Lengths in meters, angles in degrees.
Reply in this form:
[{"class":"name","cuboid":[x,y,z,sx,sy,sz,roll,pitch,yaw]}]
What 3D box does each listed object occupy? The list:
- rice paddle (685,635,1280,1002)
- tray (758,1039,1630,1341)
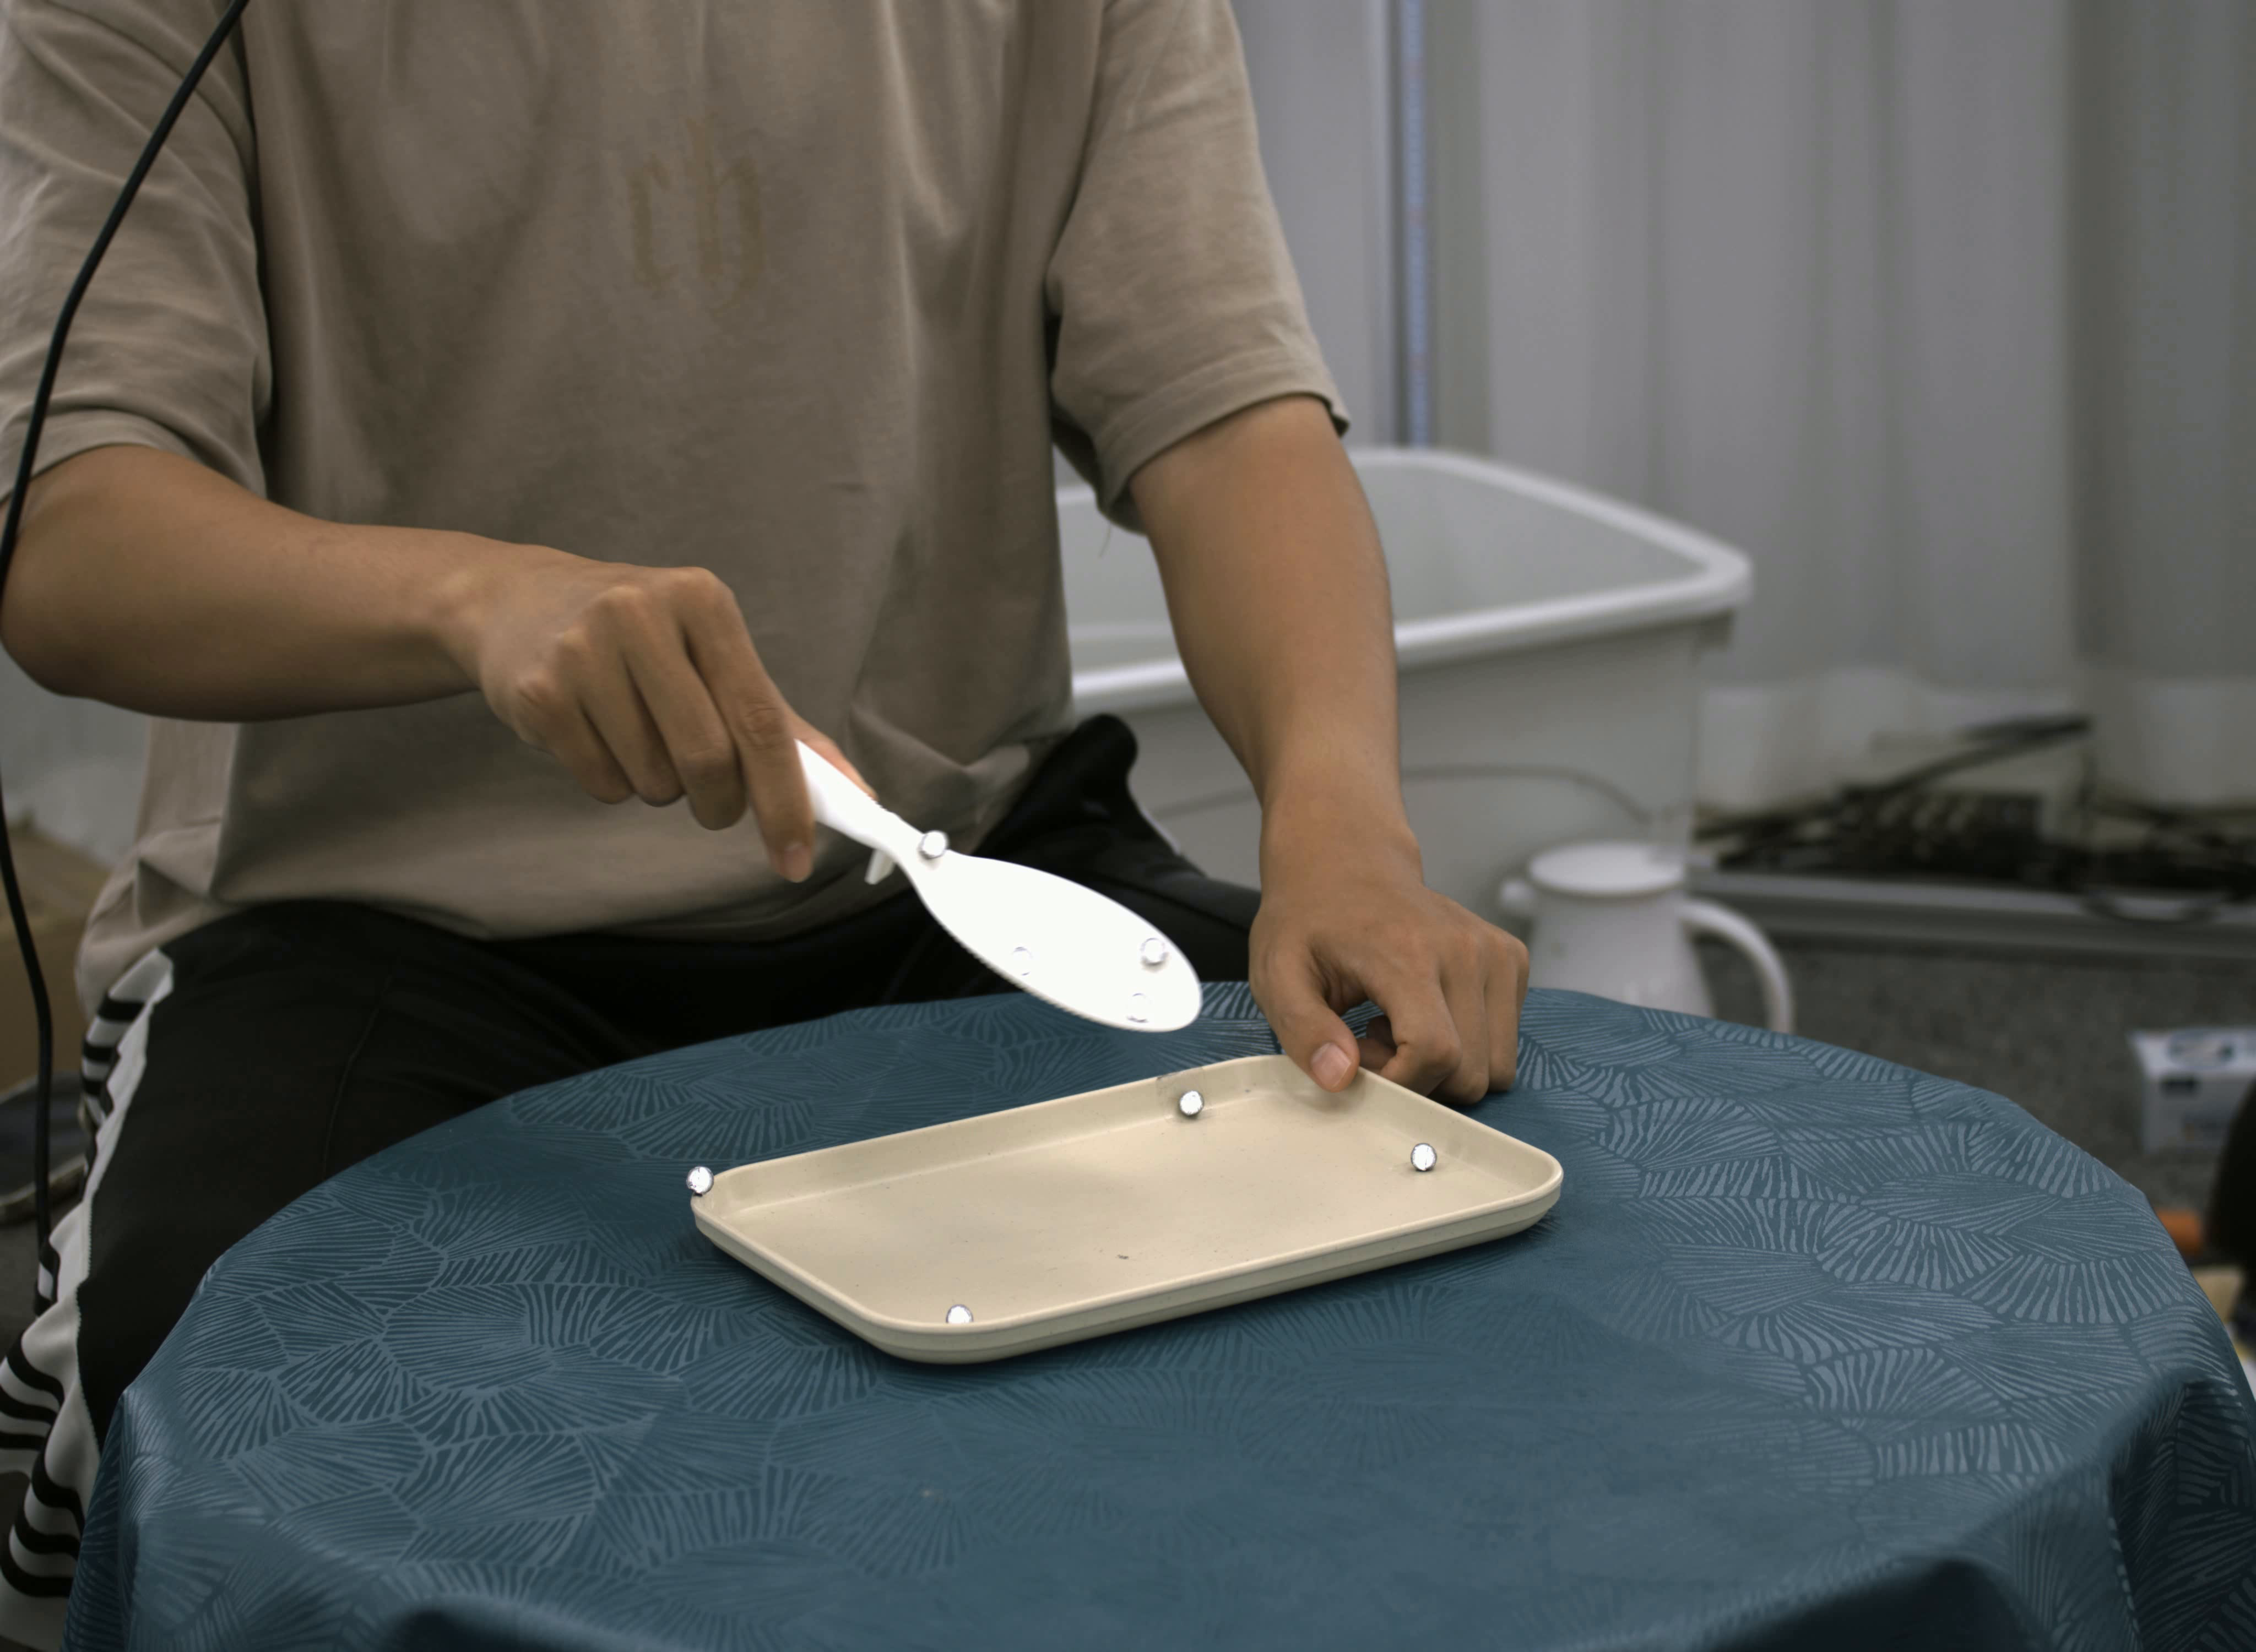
[{"class":"rice paddle","cuboid":[-0.042,0.000,1.671,0.206,0.029,0.069,29,29,16]},{"class":"tray","cuboid":[0.020,0.111,1.675,0.238,0.017,0.172,-10,17,-28]}]
